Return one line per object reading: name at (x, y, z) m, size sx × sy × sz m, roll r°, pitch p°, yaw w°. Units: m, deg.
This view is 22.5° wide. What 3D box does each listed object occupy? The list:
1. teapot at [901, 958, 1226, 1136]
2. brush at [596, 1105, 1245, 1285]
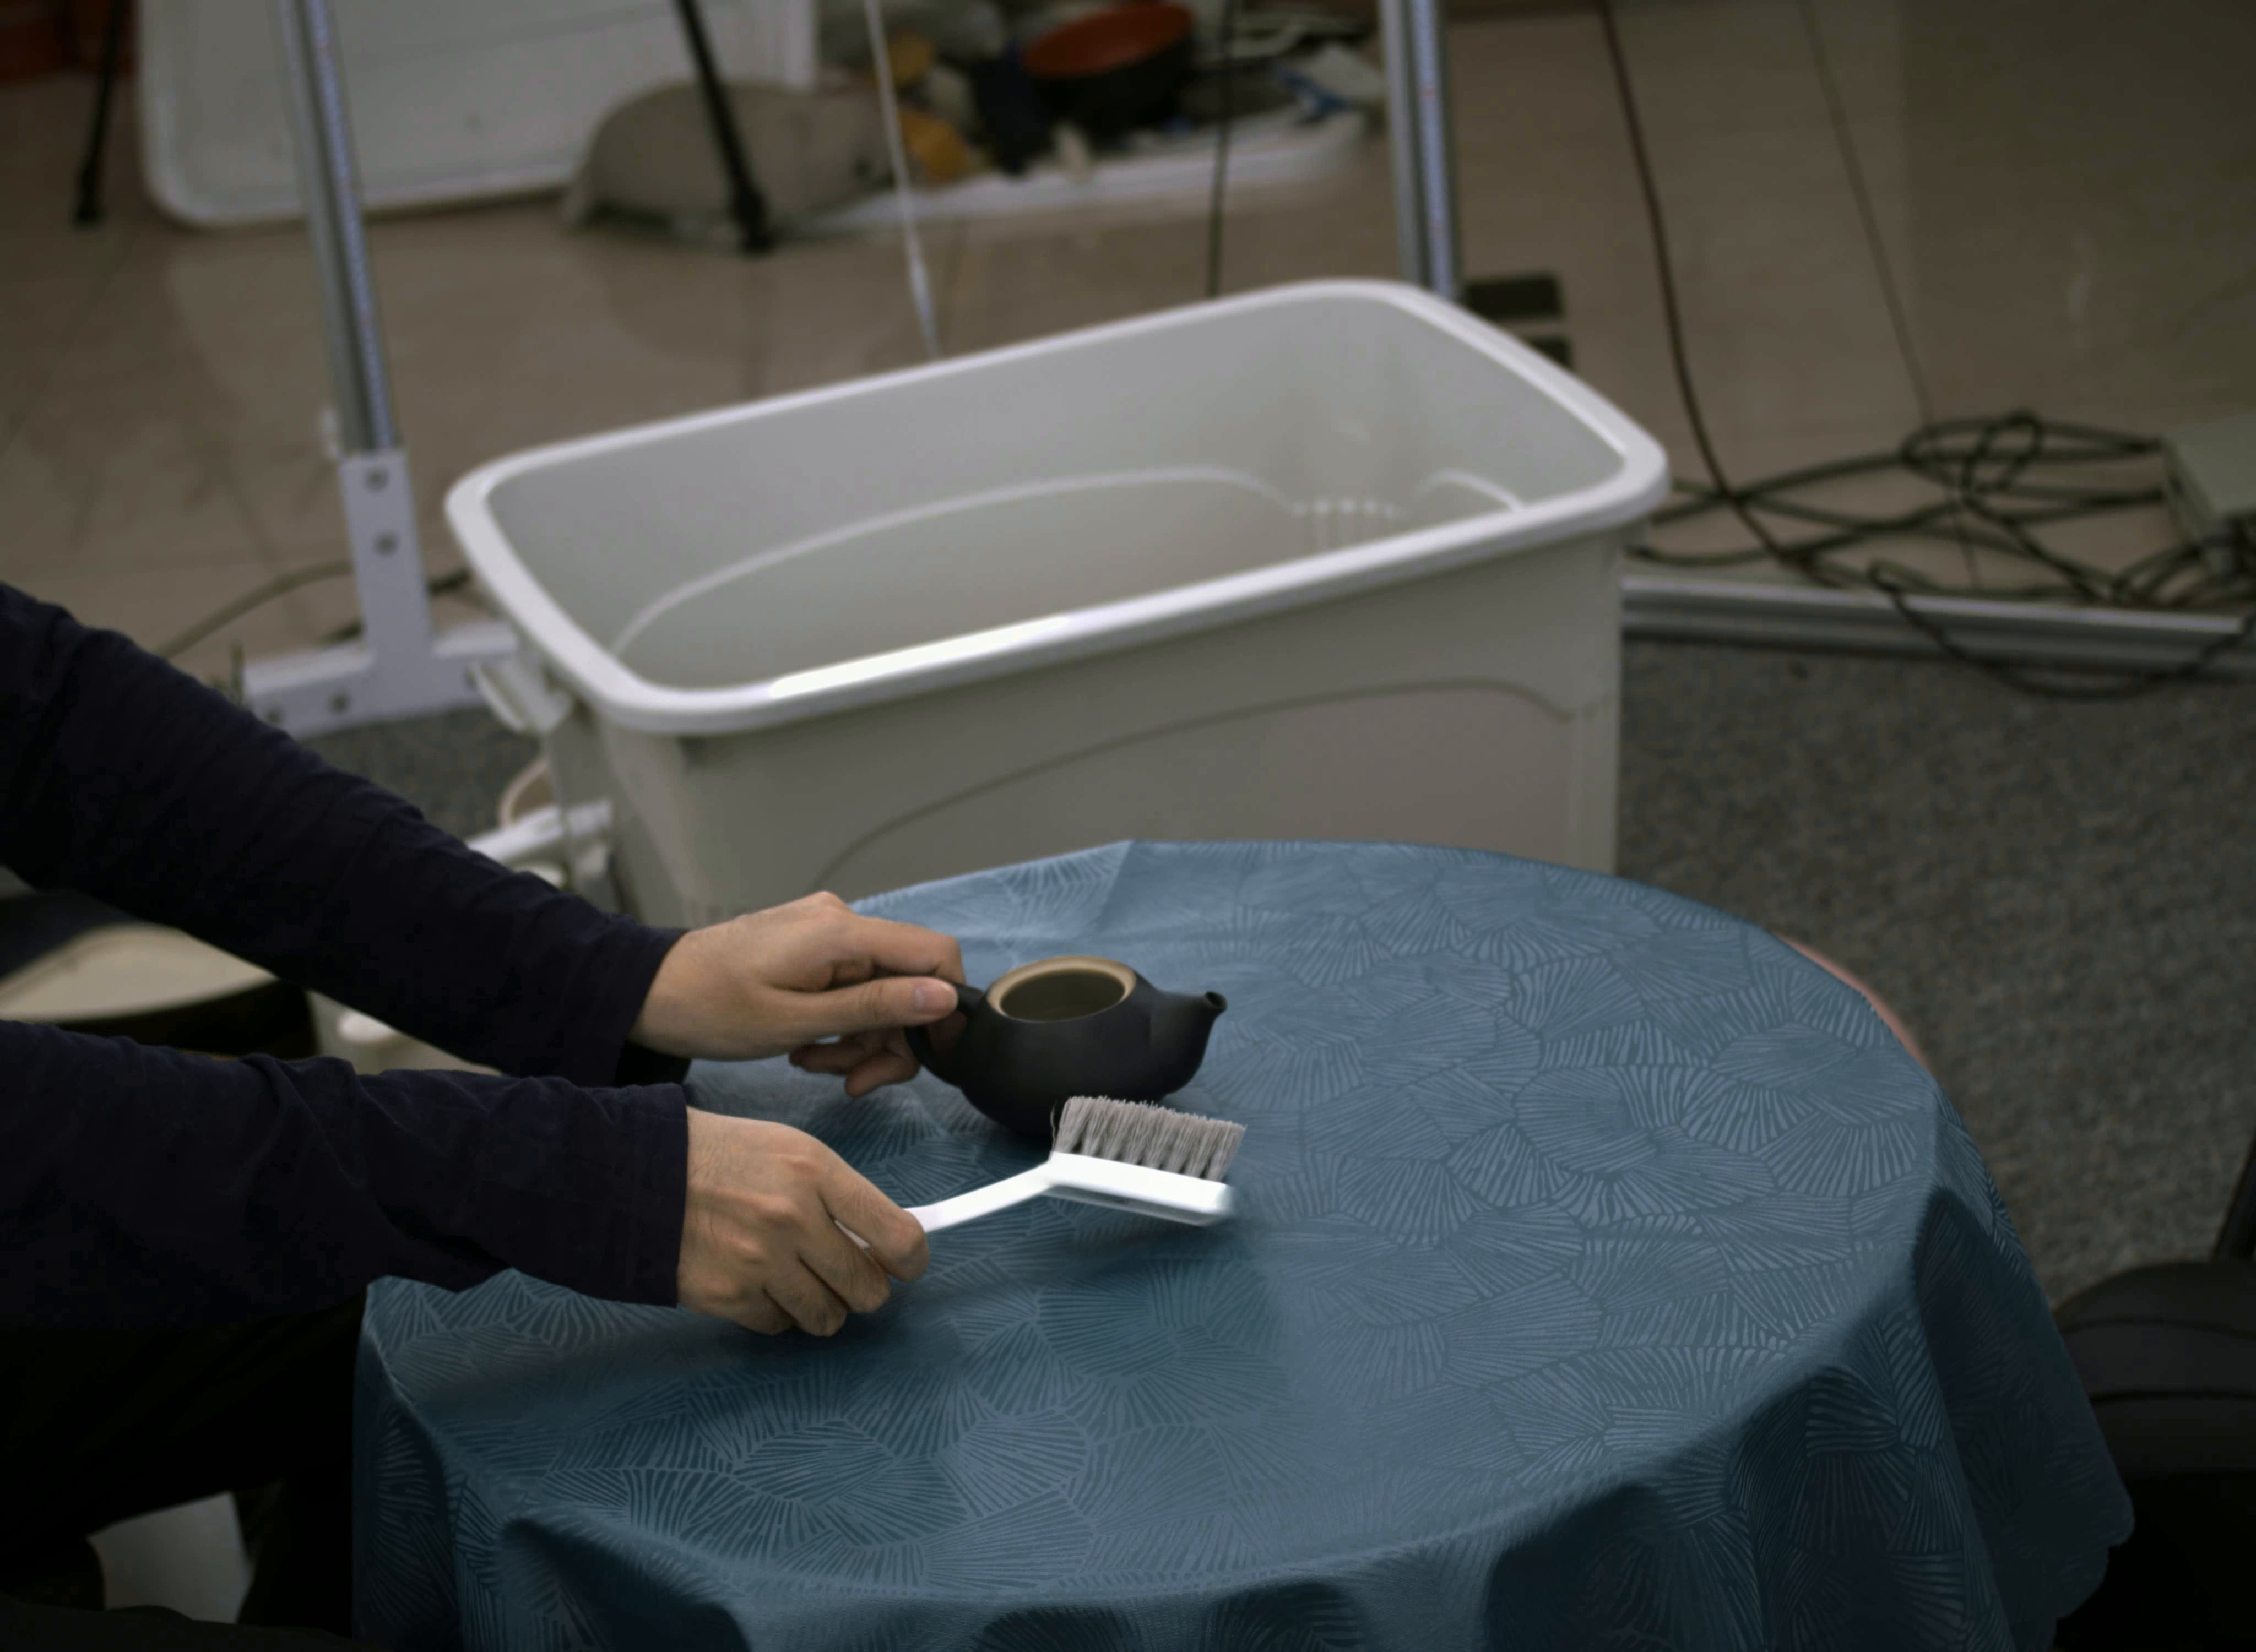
teapot at (-0.024, 0.086, 2.203) m, size 0.133 × 0.054 × 0.090 m, roll 1°, pitch 23°, yaw 16°
brush at (-0.077, 0.134, 2.091) m, size 0.243 × 0.050 × 0.034 m, roll -6°, pitch -4°, yaw -7°
